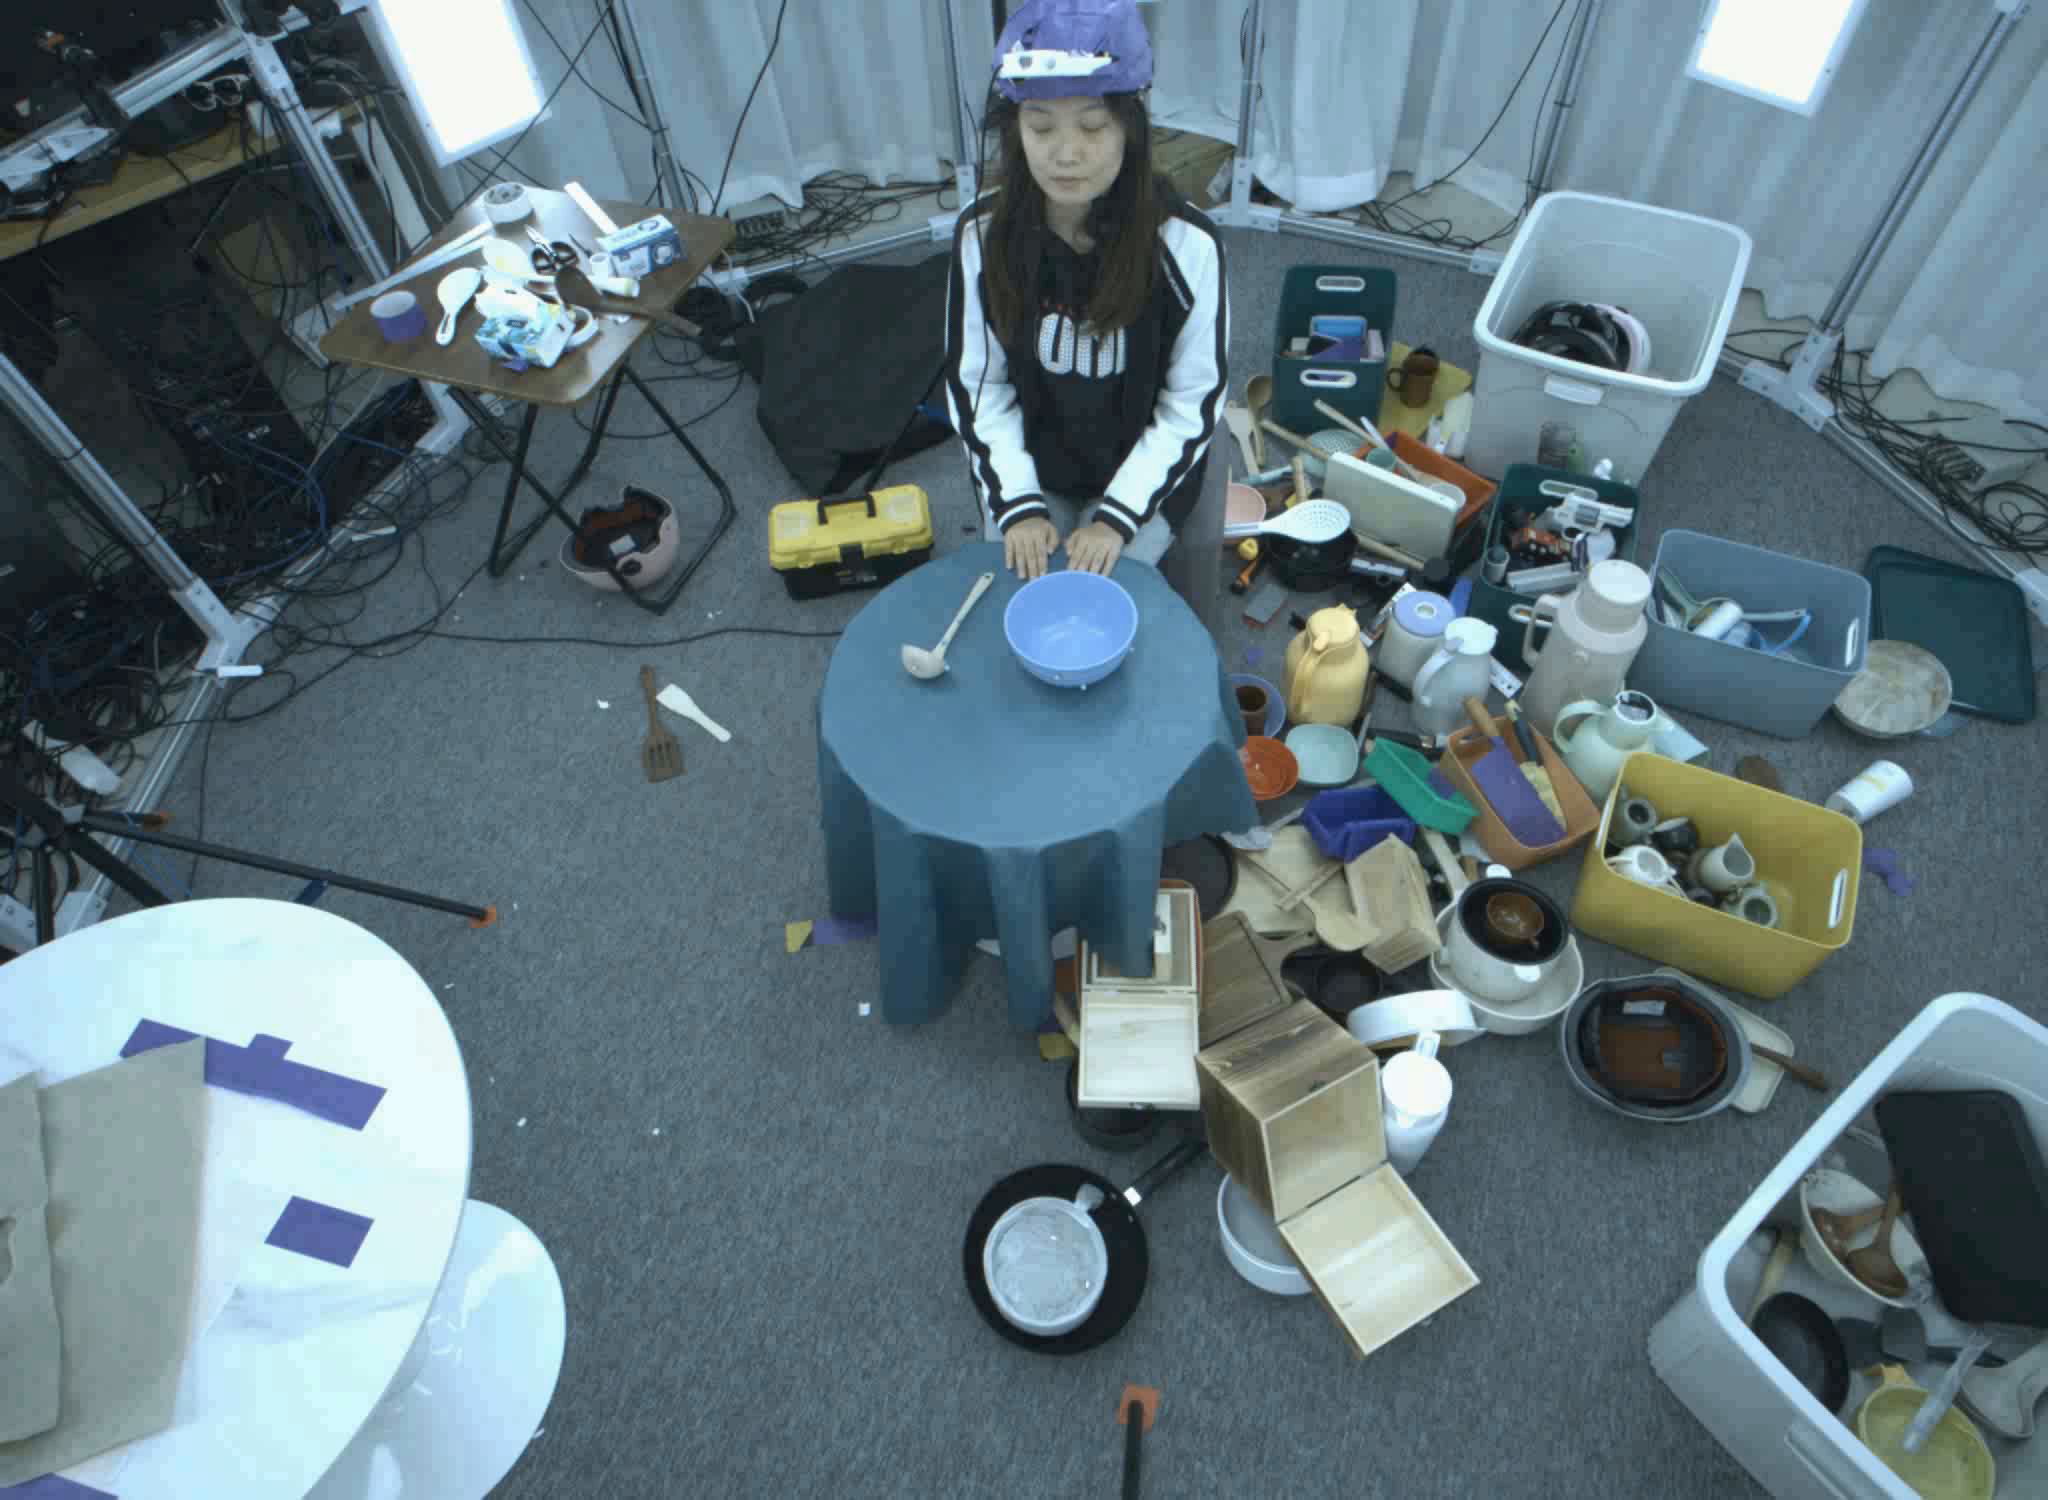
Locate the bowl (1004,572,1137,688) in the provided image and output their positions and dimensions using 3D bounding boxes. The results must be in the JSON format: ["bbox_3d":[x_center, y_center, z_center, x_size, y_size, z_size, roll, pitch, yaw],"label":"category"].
[{"bbox_3d":[0.071,-0.165,1.848,0.196,0.096,0.194,-1,54,3],"label":"bowl"}]

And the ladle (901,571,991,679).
[{"bbox_3d":[-0.111,-0.215,1.899,0.071,0.073,0.254,18,57,14],"label":"ladle"}]
